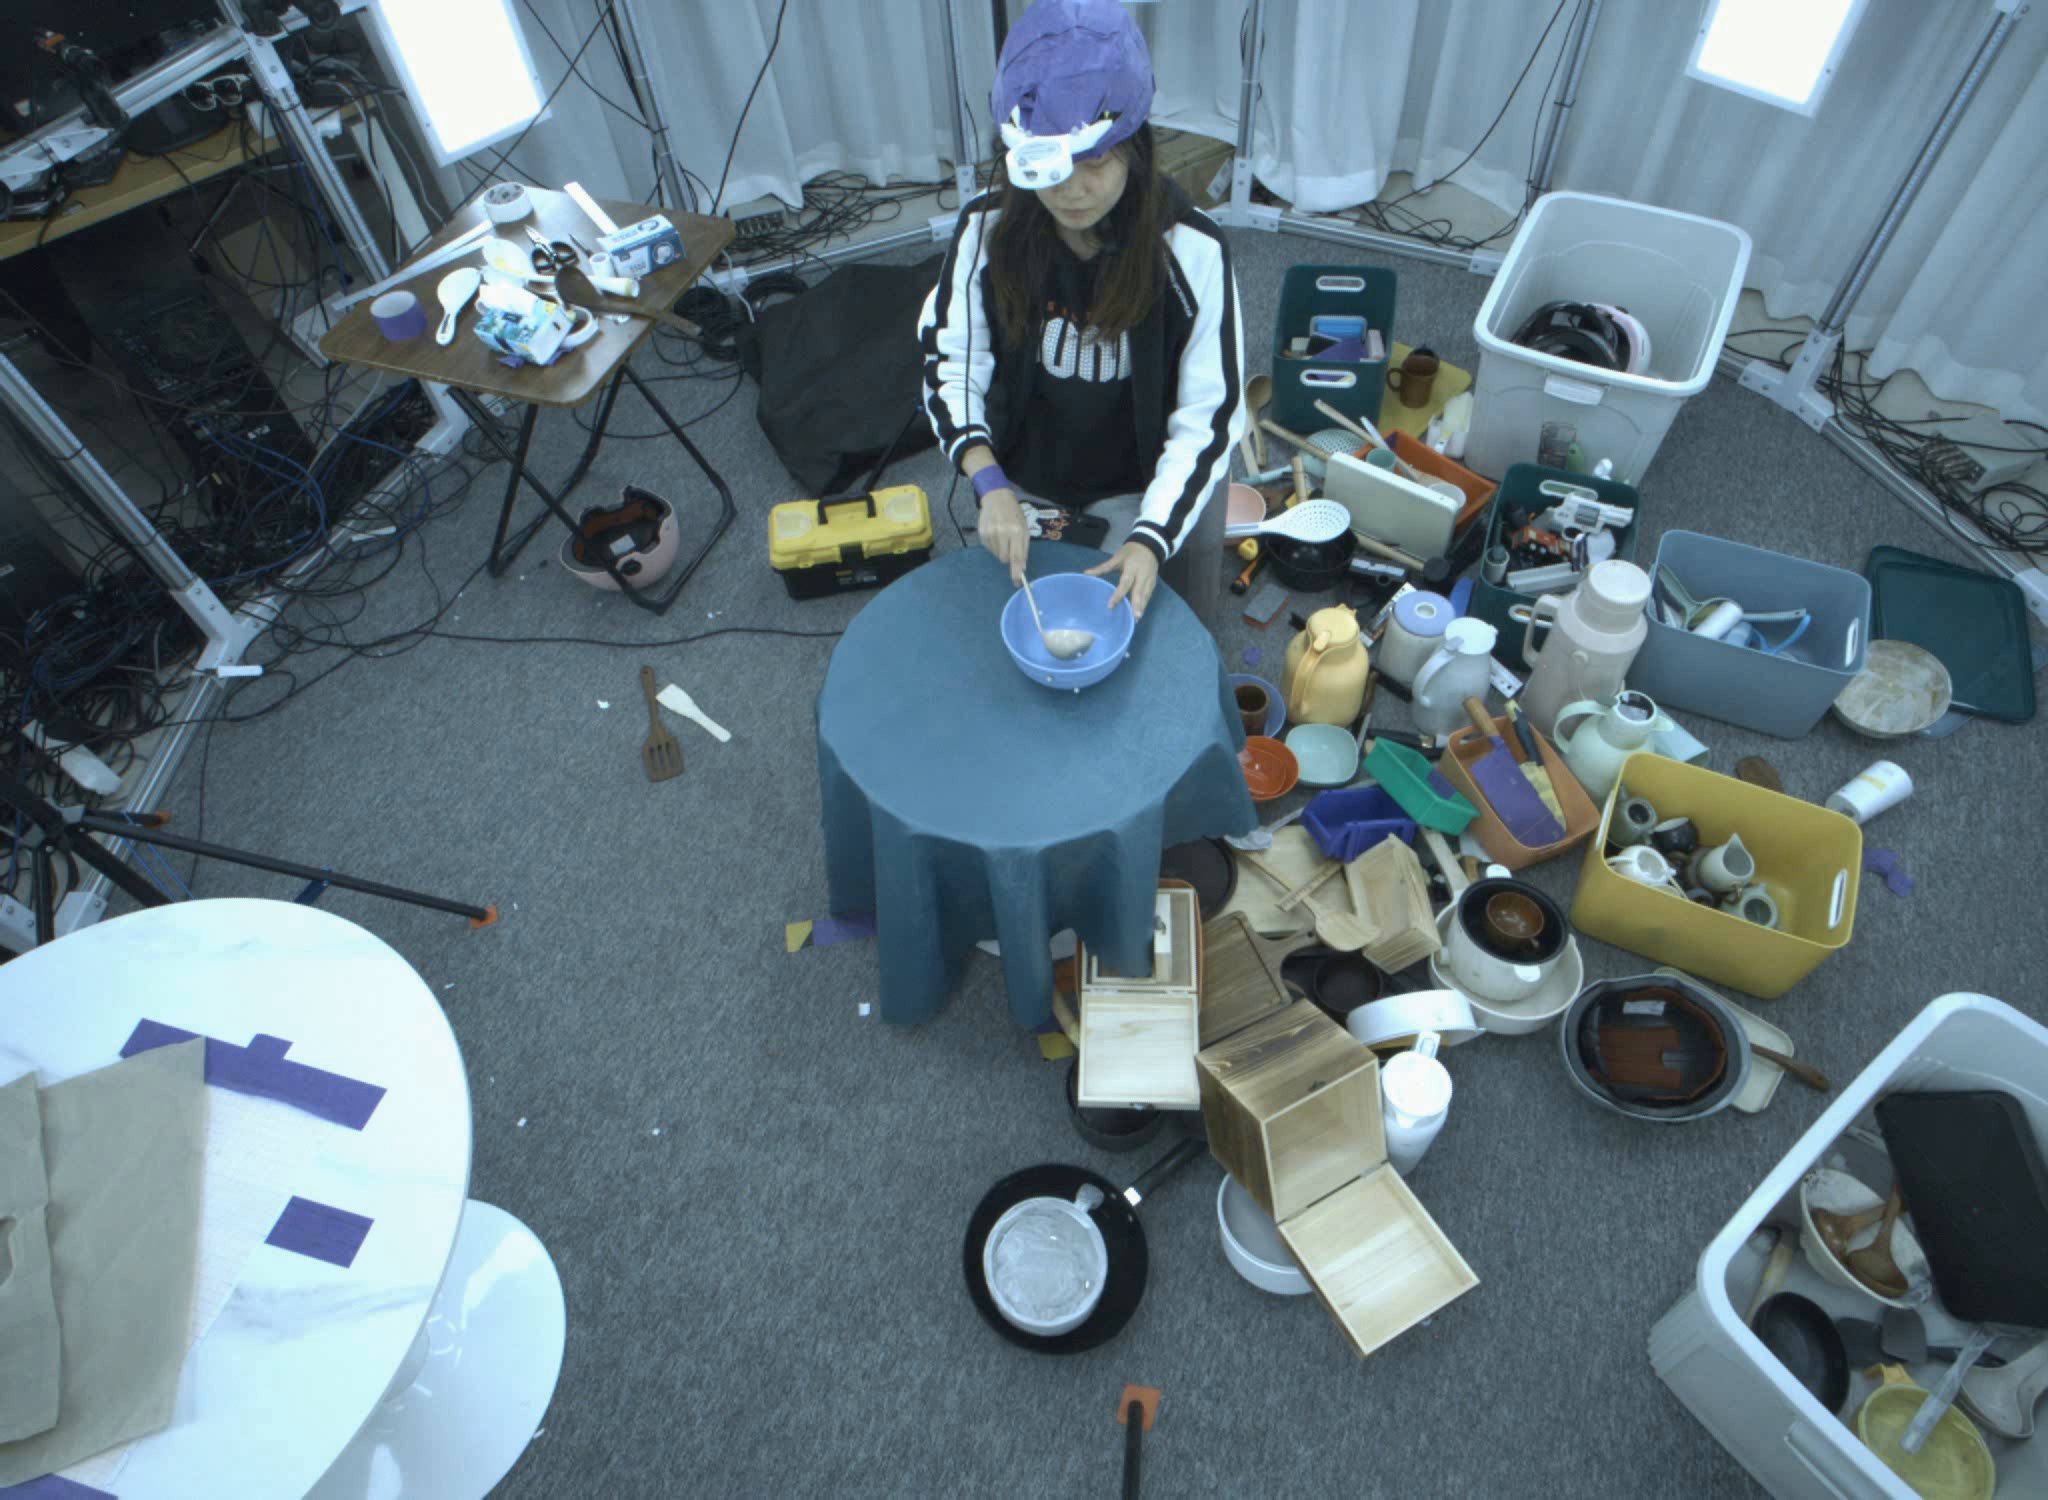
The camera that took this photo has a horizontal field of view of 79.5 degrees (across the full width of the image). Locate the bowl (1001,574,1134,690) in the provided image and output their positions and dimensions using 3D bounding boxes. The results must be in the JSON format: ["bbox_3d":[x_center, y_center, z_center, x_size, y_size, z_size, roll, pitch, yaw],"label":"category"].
[{"bbox_3d":[0.067,-0.161,1.845,0.196,0.096,0.194,-1,54,3],"label":"bowl"}]

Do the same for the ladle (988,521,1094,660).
[{"bbox_3d":[0.025,-0.252,1.825,0.072,0.073,0.252,-26,77,11],"label":"ladle"}]
